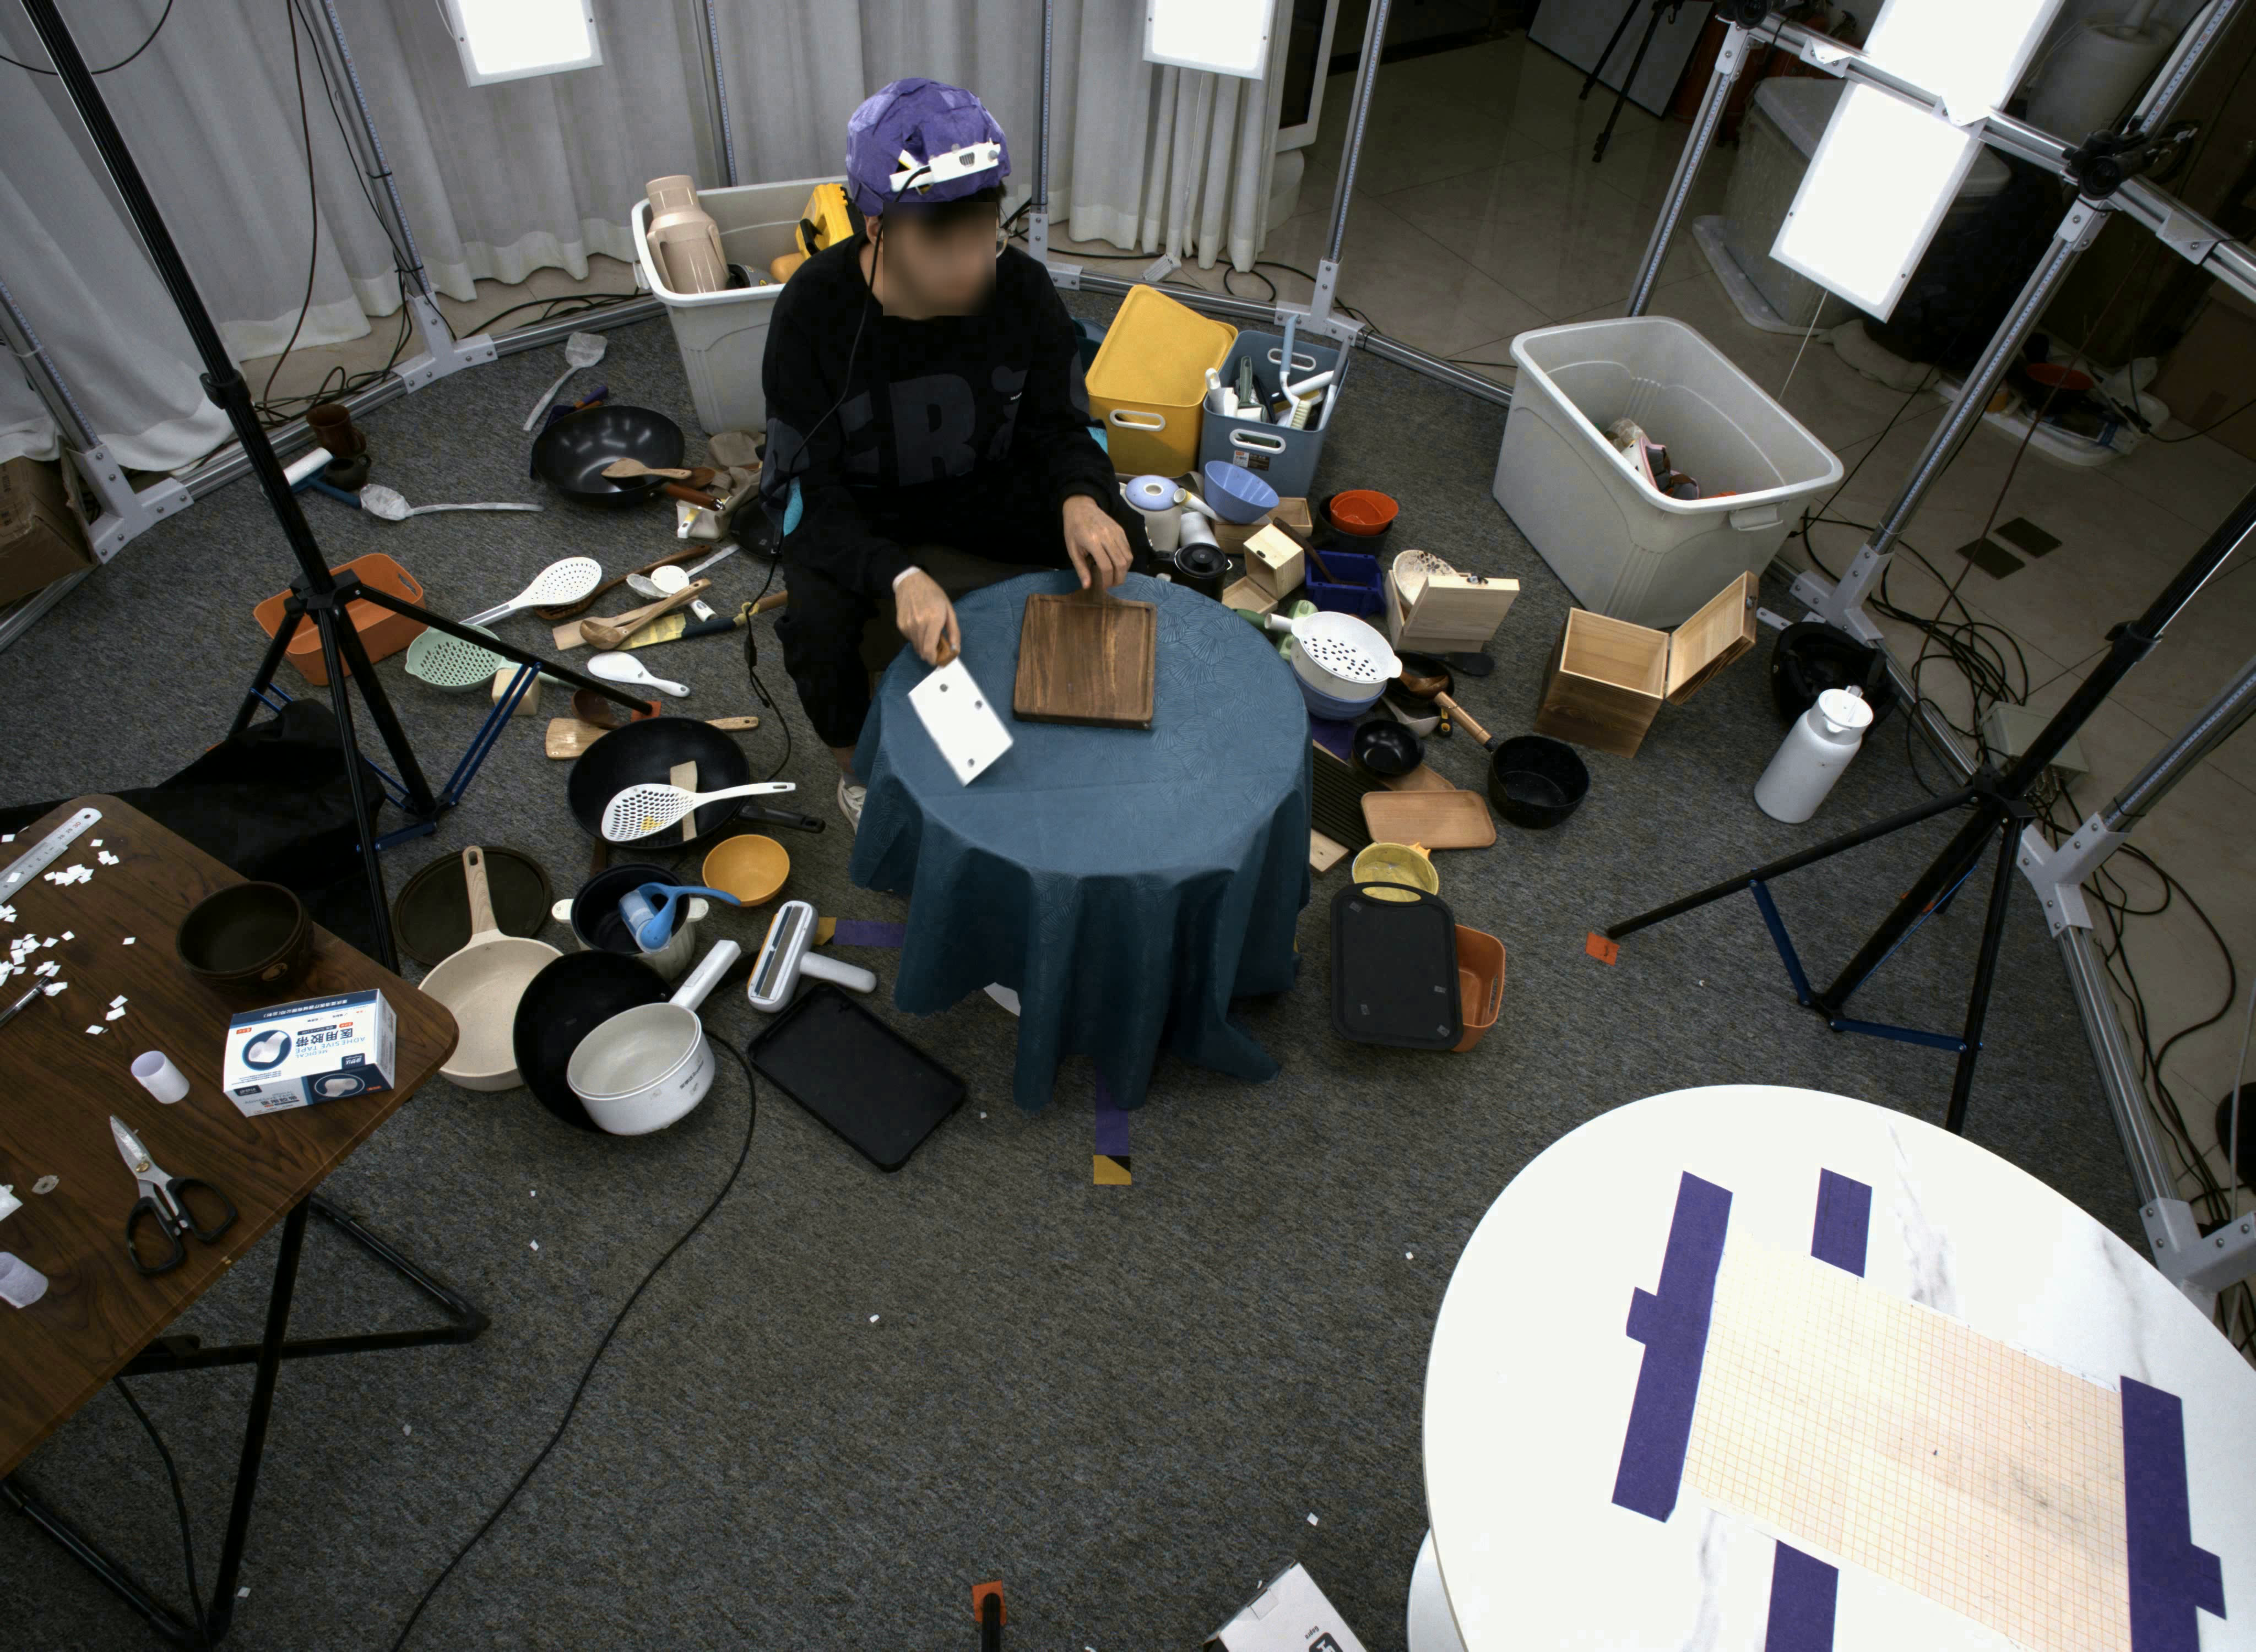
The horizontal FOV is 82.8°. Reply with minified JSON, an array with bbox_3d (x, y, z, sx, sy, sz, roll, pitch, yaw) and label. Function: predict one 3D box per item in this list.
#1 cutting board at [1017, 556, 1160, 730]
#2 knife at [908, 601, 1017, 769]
[{"bbox_3d":[-0.052,-0.279,1.894,0.201,0.022,0.361,4,49,-1],"label":"cutting board"},{"bbox_3d":[-0.248,-0.194,1.774,0.092,0.020,0.312,-42,55,10],"label":"knife"}]
